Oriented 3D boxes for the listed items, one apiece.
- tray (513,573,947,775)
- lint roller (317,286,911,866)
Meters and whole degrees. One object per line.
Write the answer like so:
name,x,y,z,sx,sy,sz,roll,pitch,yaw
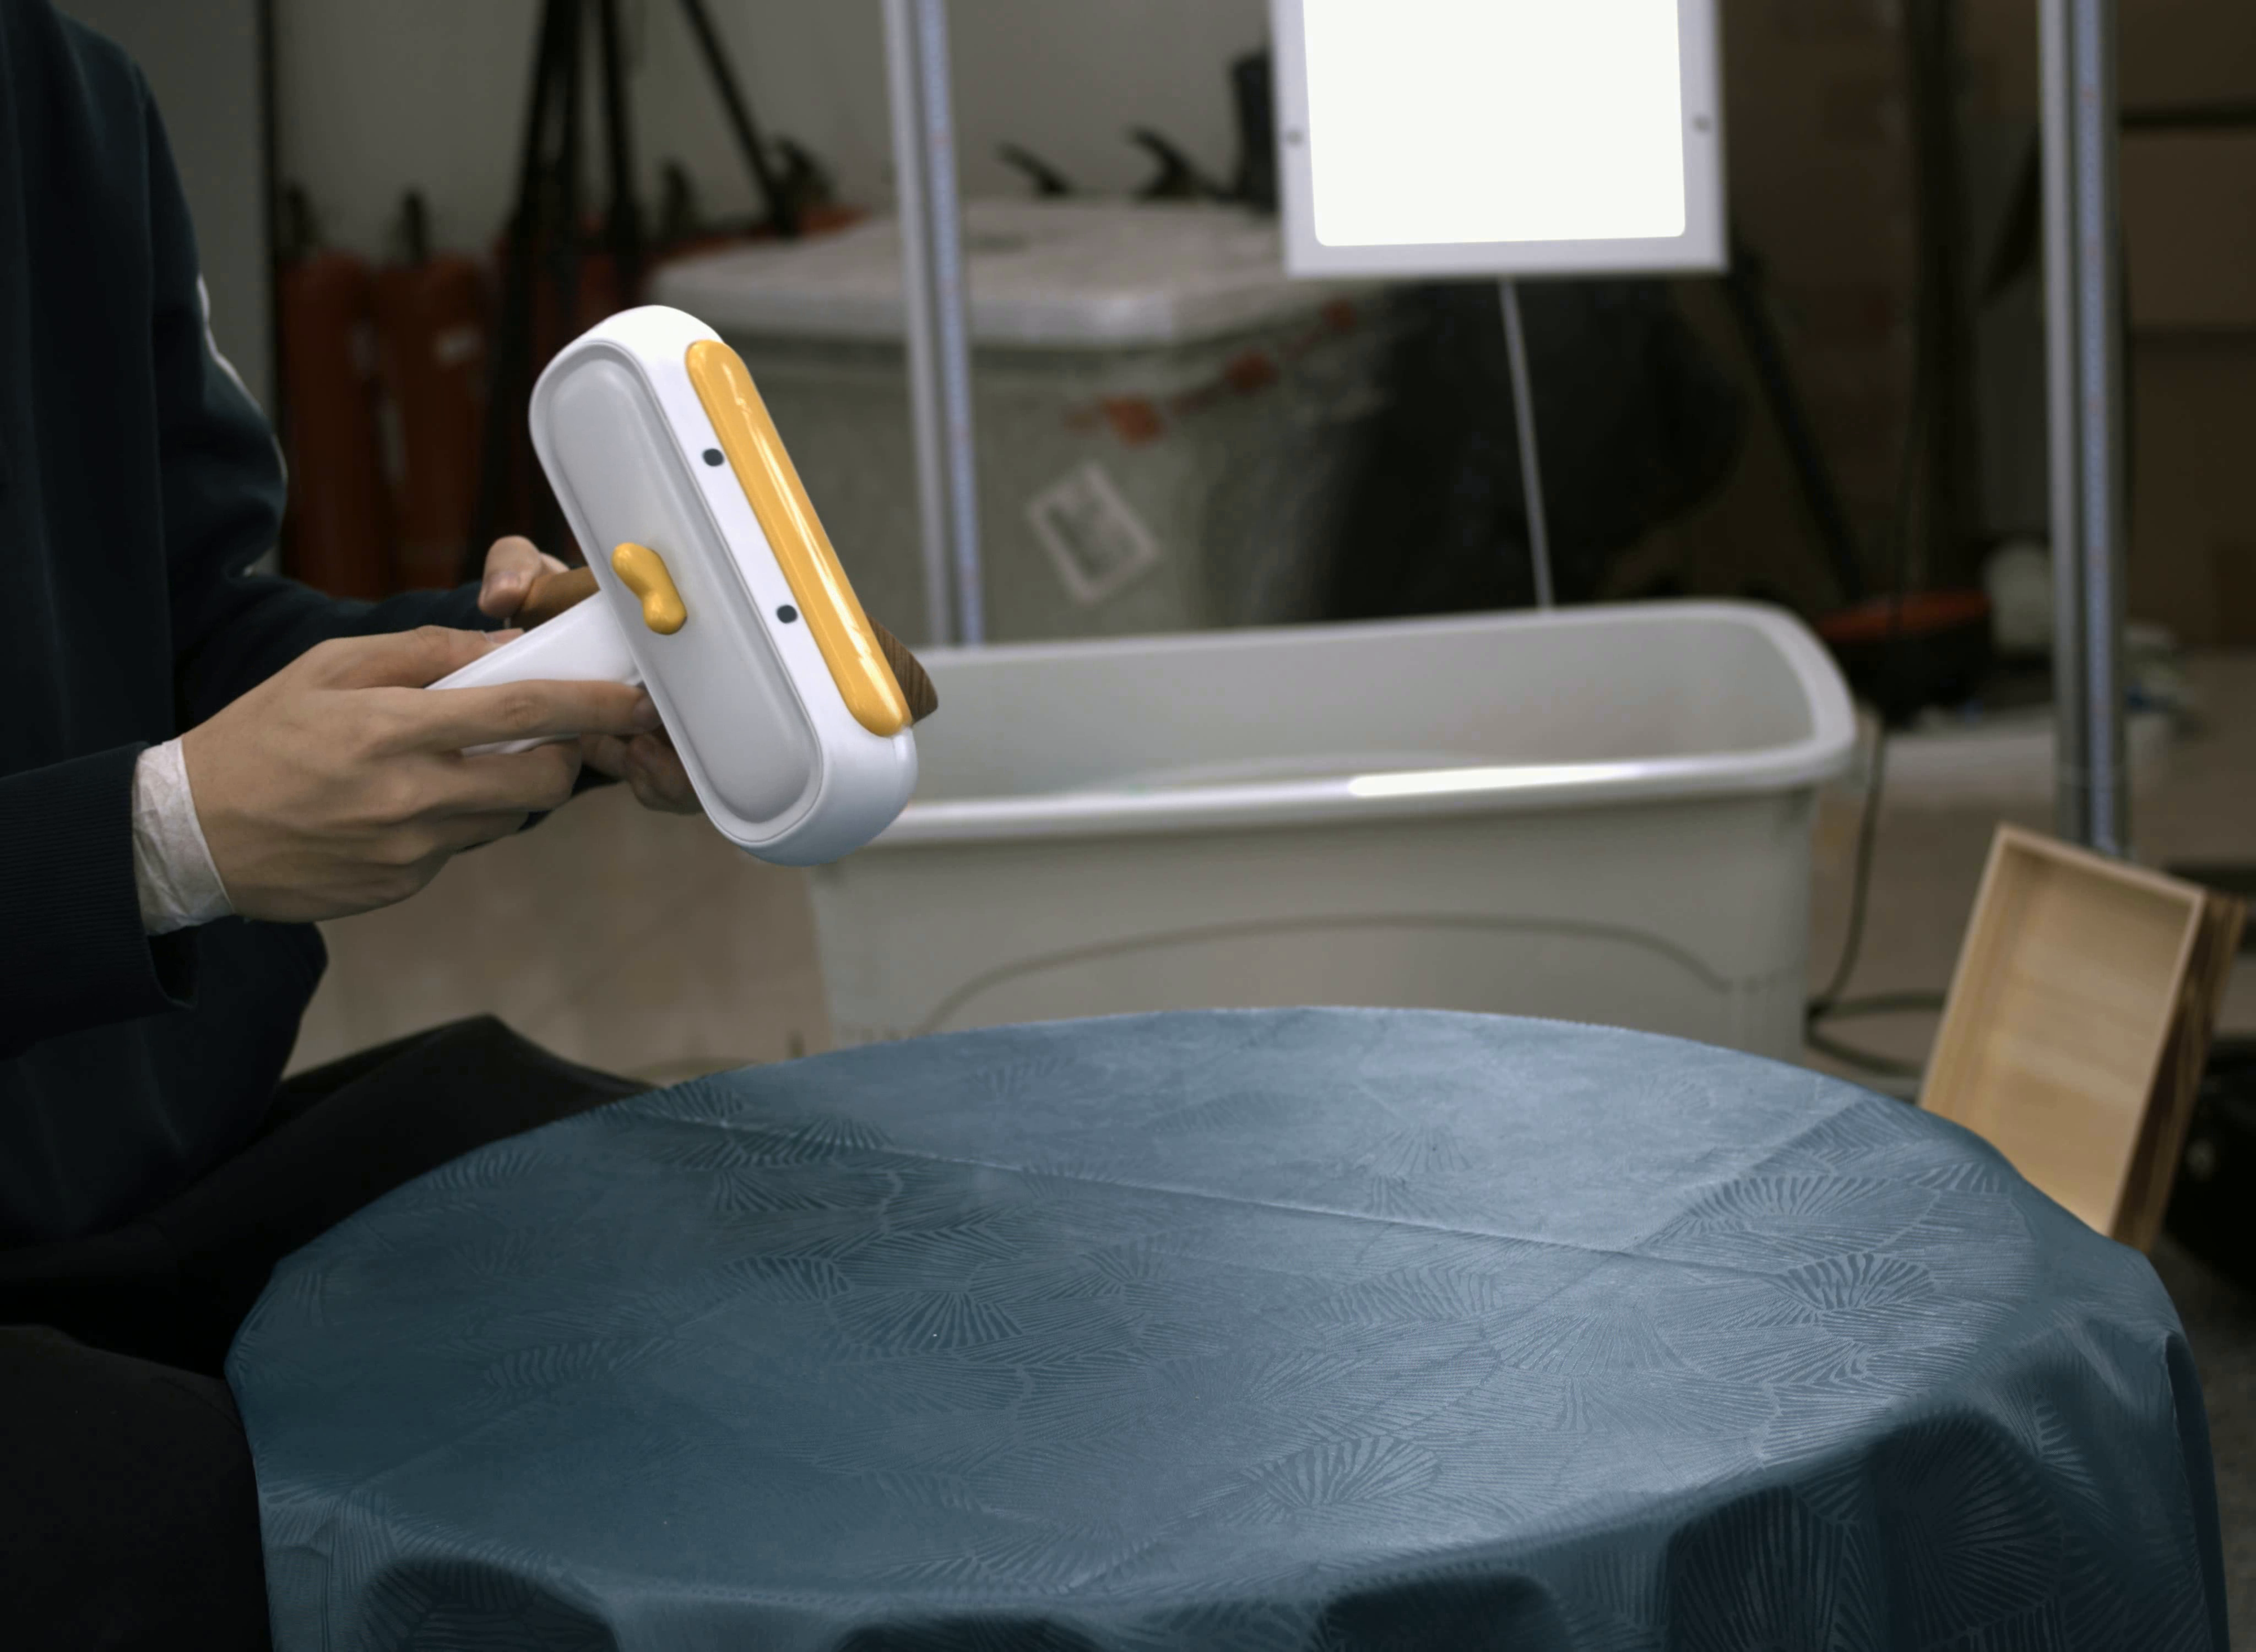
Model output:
tray,-0.141,-0.055,1.904,0.020,0.100,0.236,-58,23,-19
lint roller,-0.183,-0.053,1.806,0.196,0.193,0.072,-36,-10,26
